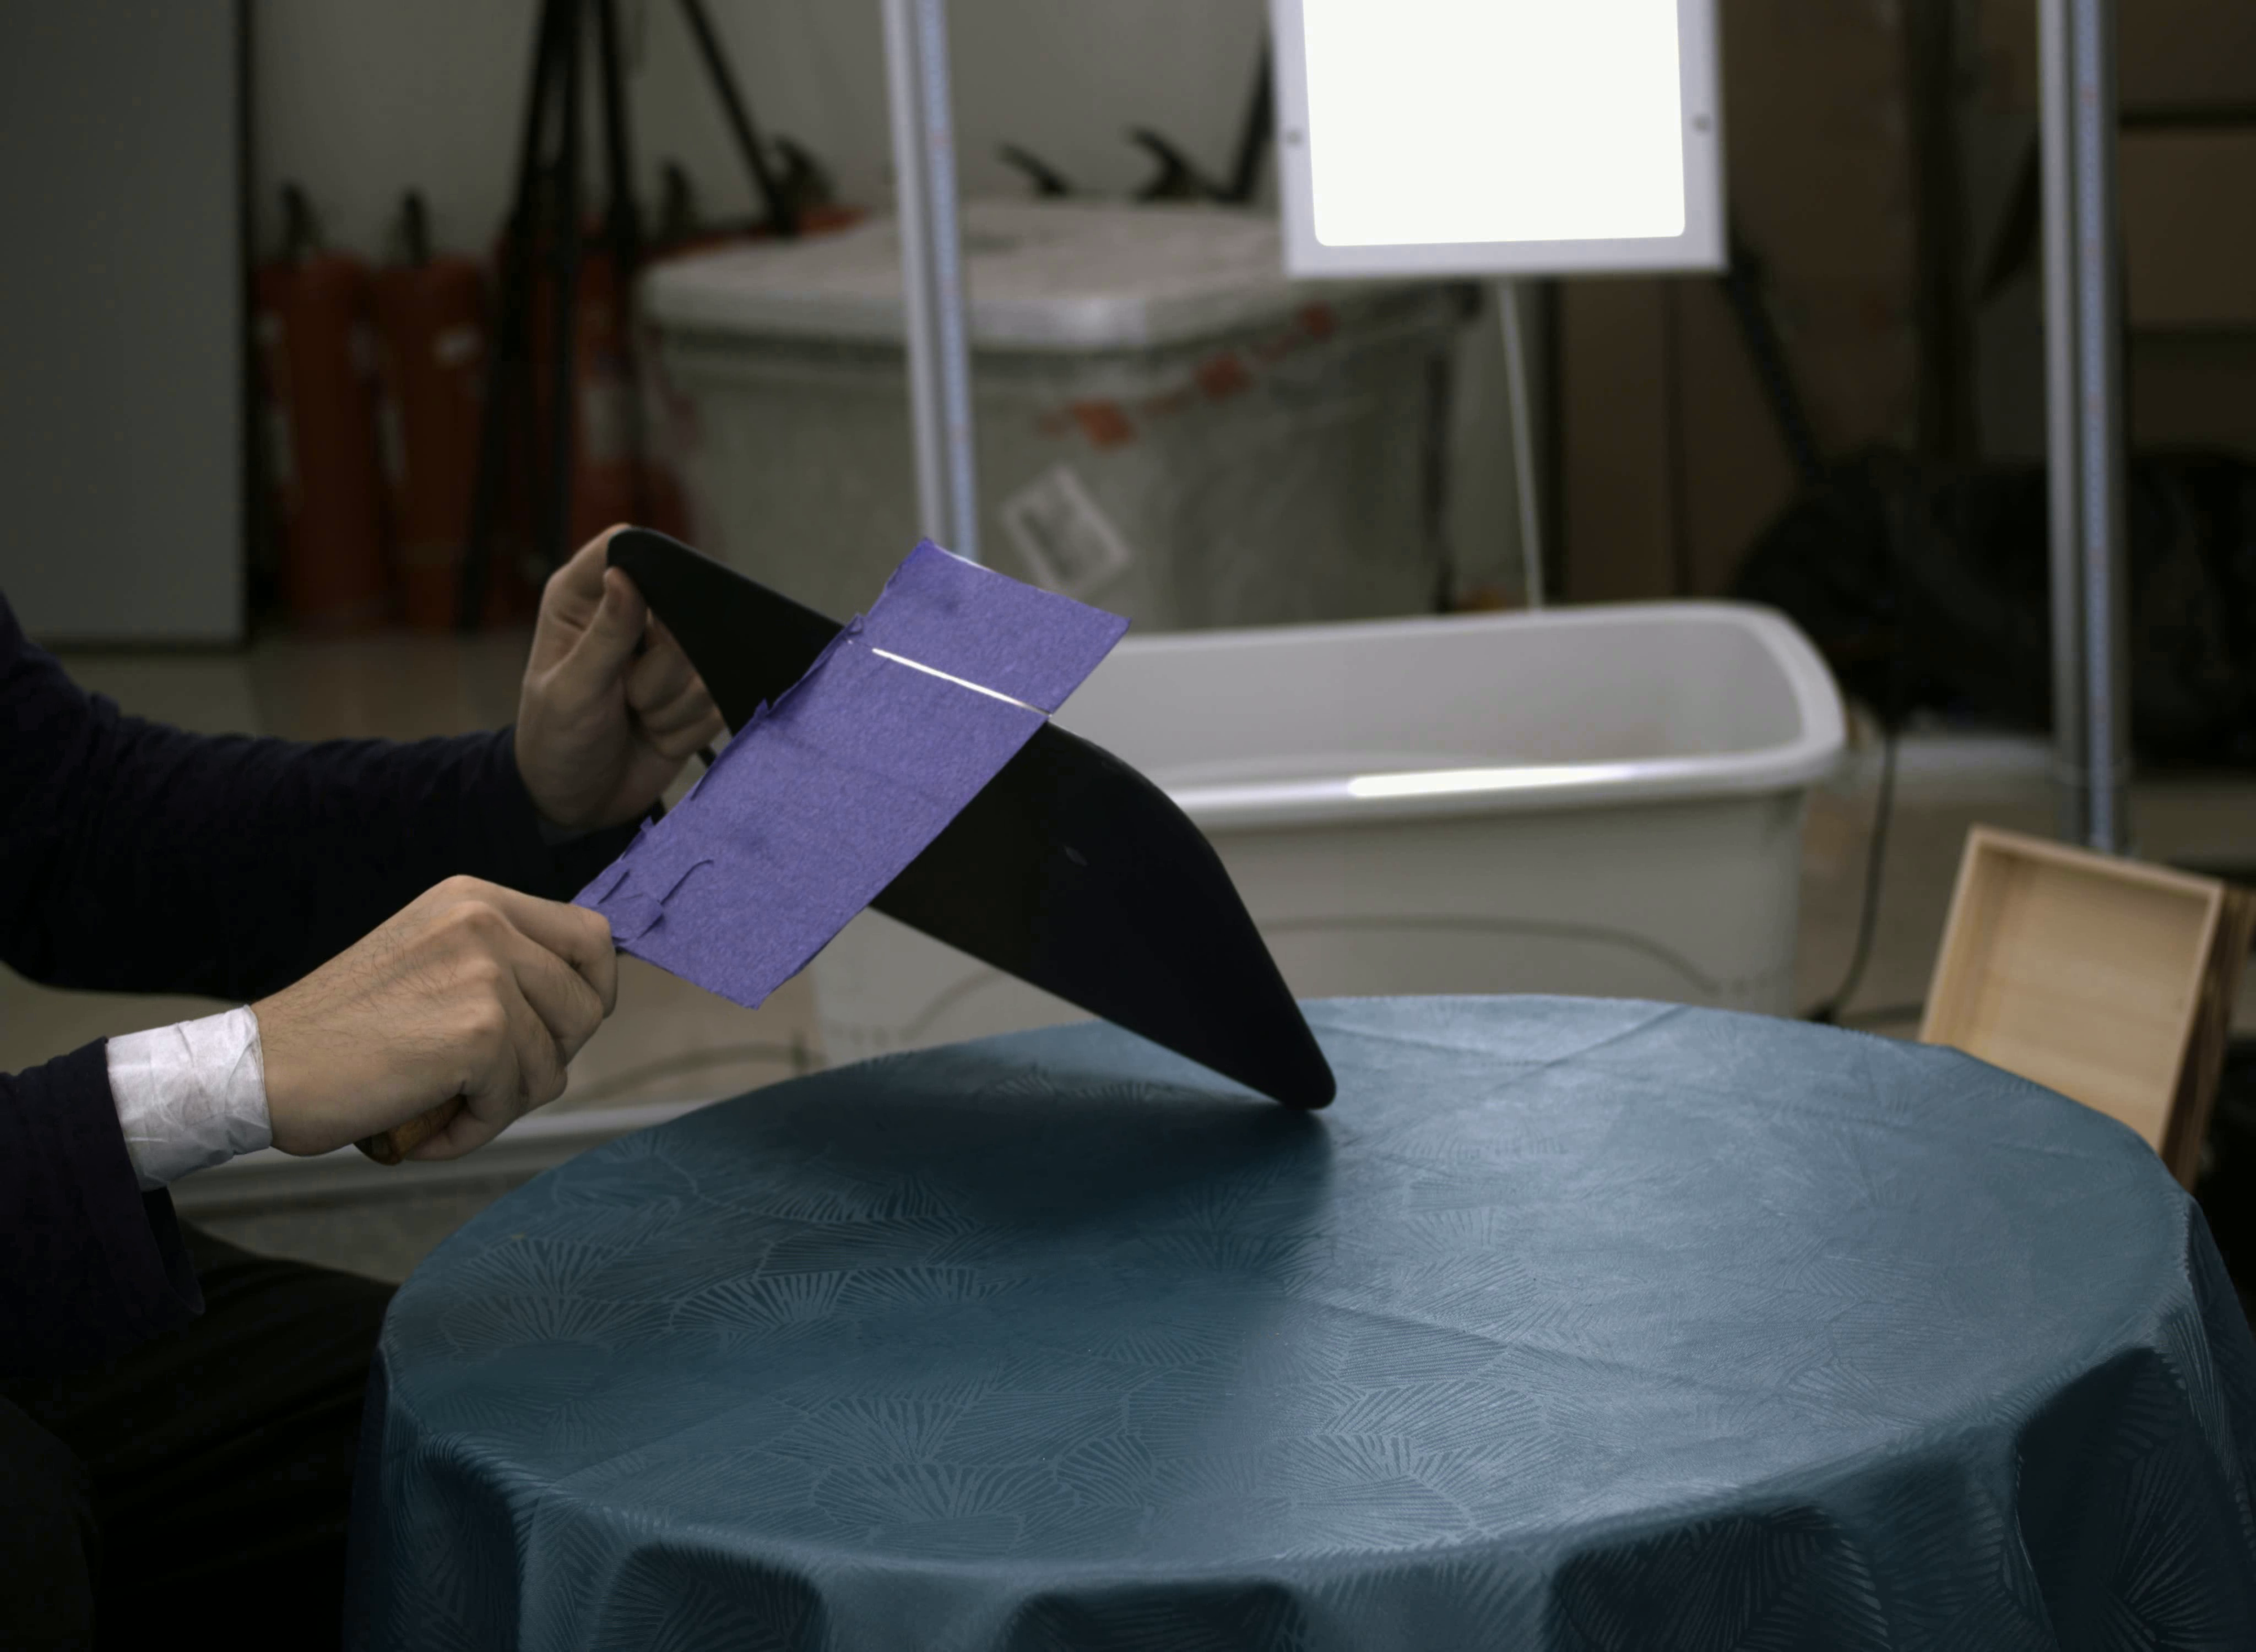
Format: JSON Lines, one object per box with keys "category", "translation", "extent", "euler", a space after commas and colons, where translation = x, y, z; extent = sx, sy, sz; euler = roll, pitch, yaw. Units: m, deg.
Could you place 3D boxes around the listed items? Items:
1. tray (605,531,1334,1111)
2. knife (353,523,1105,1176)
{"category": "tray", "translation": [-0.064, -0.007, 1.994], "extent": [0.331, 0.209, 0.009], "euler": [25, 65, 39]}
{"category": "knife", "translation": [-0.126, 0.009, 1.833], "extent": [0.106, 0.032, 0.310], "euler": [21, 57, 34]}
